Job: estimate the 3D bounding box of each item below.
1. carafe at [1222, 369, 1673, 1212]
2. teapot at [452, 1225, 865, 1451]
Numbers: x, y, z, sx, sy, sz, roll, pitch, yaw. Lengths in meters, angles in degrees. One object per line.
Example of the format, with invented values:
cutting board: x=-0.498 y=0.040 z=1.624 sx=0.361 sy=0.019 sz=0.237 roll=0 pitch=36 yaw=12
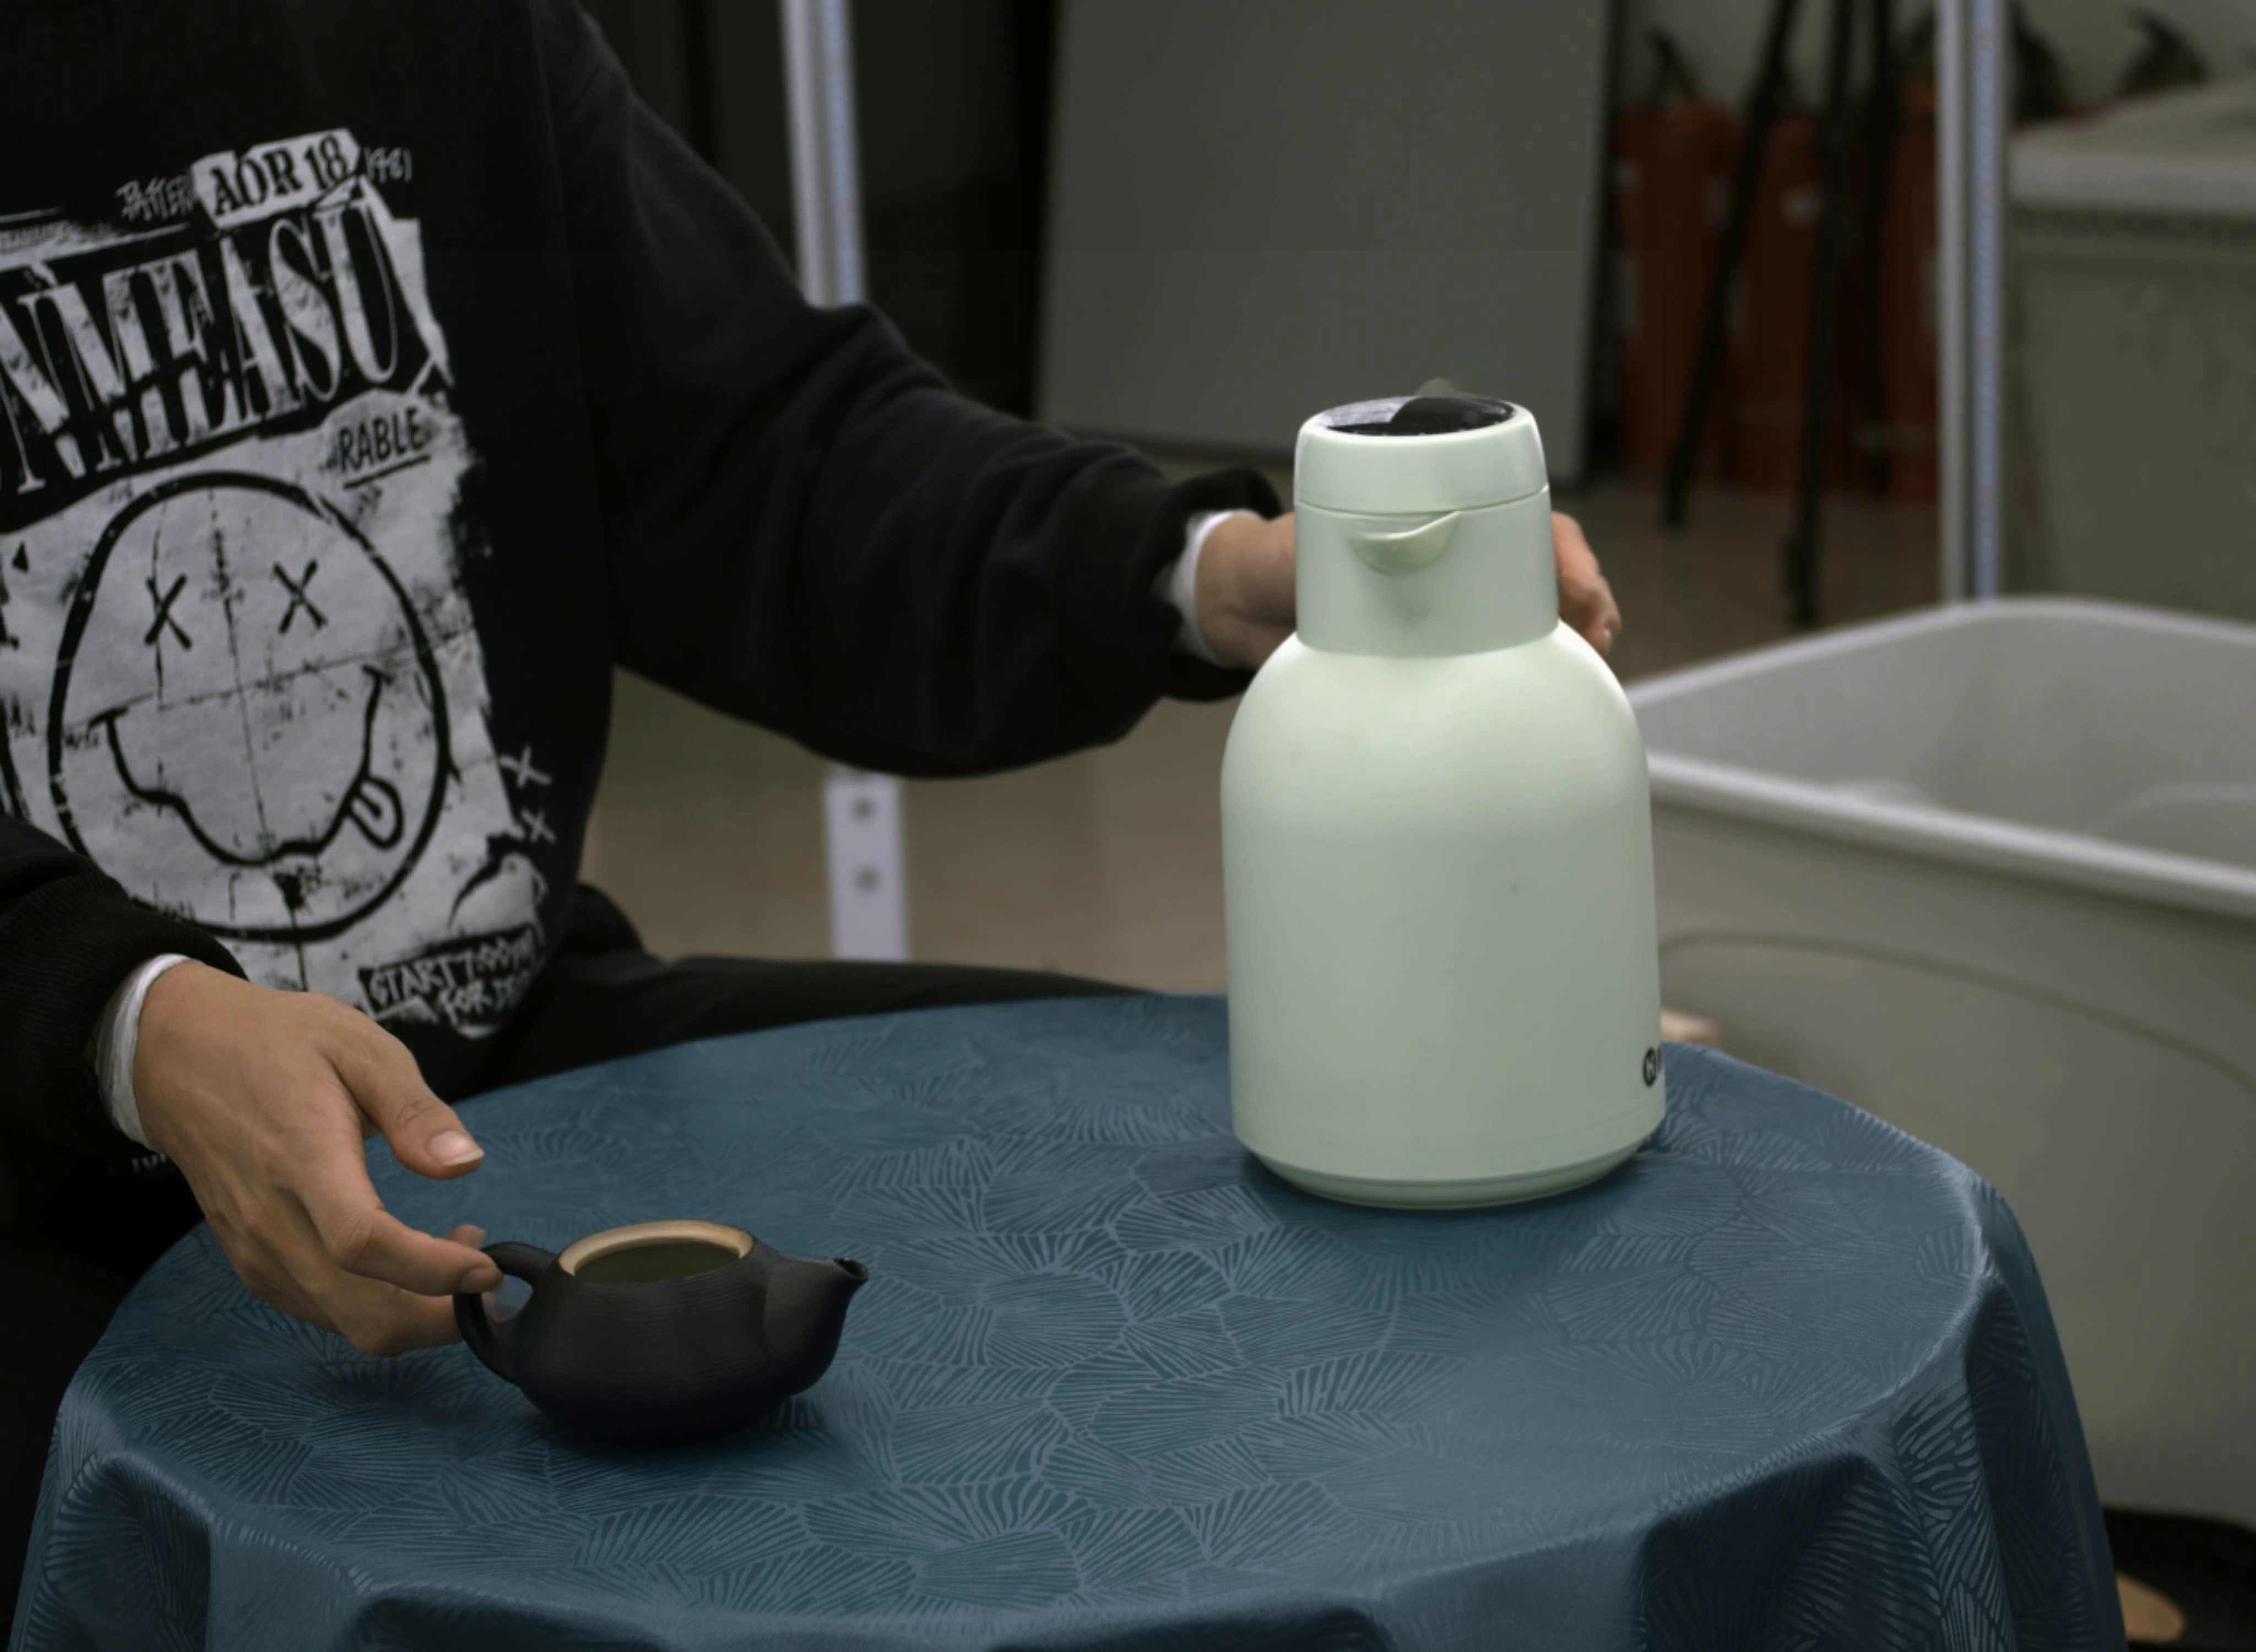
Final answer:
carafe: x=0.103 y=-0.016 z=1.772 sx=0.143 sy=0.260 sz=0.185 roll=-2 pitch=10 yaw=15
teapot: x=-0.137 y=0.150 z=1.588 sx=0.133 sy=0.053 sz=0.090 roll=1 pitch=13 yaw=20
